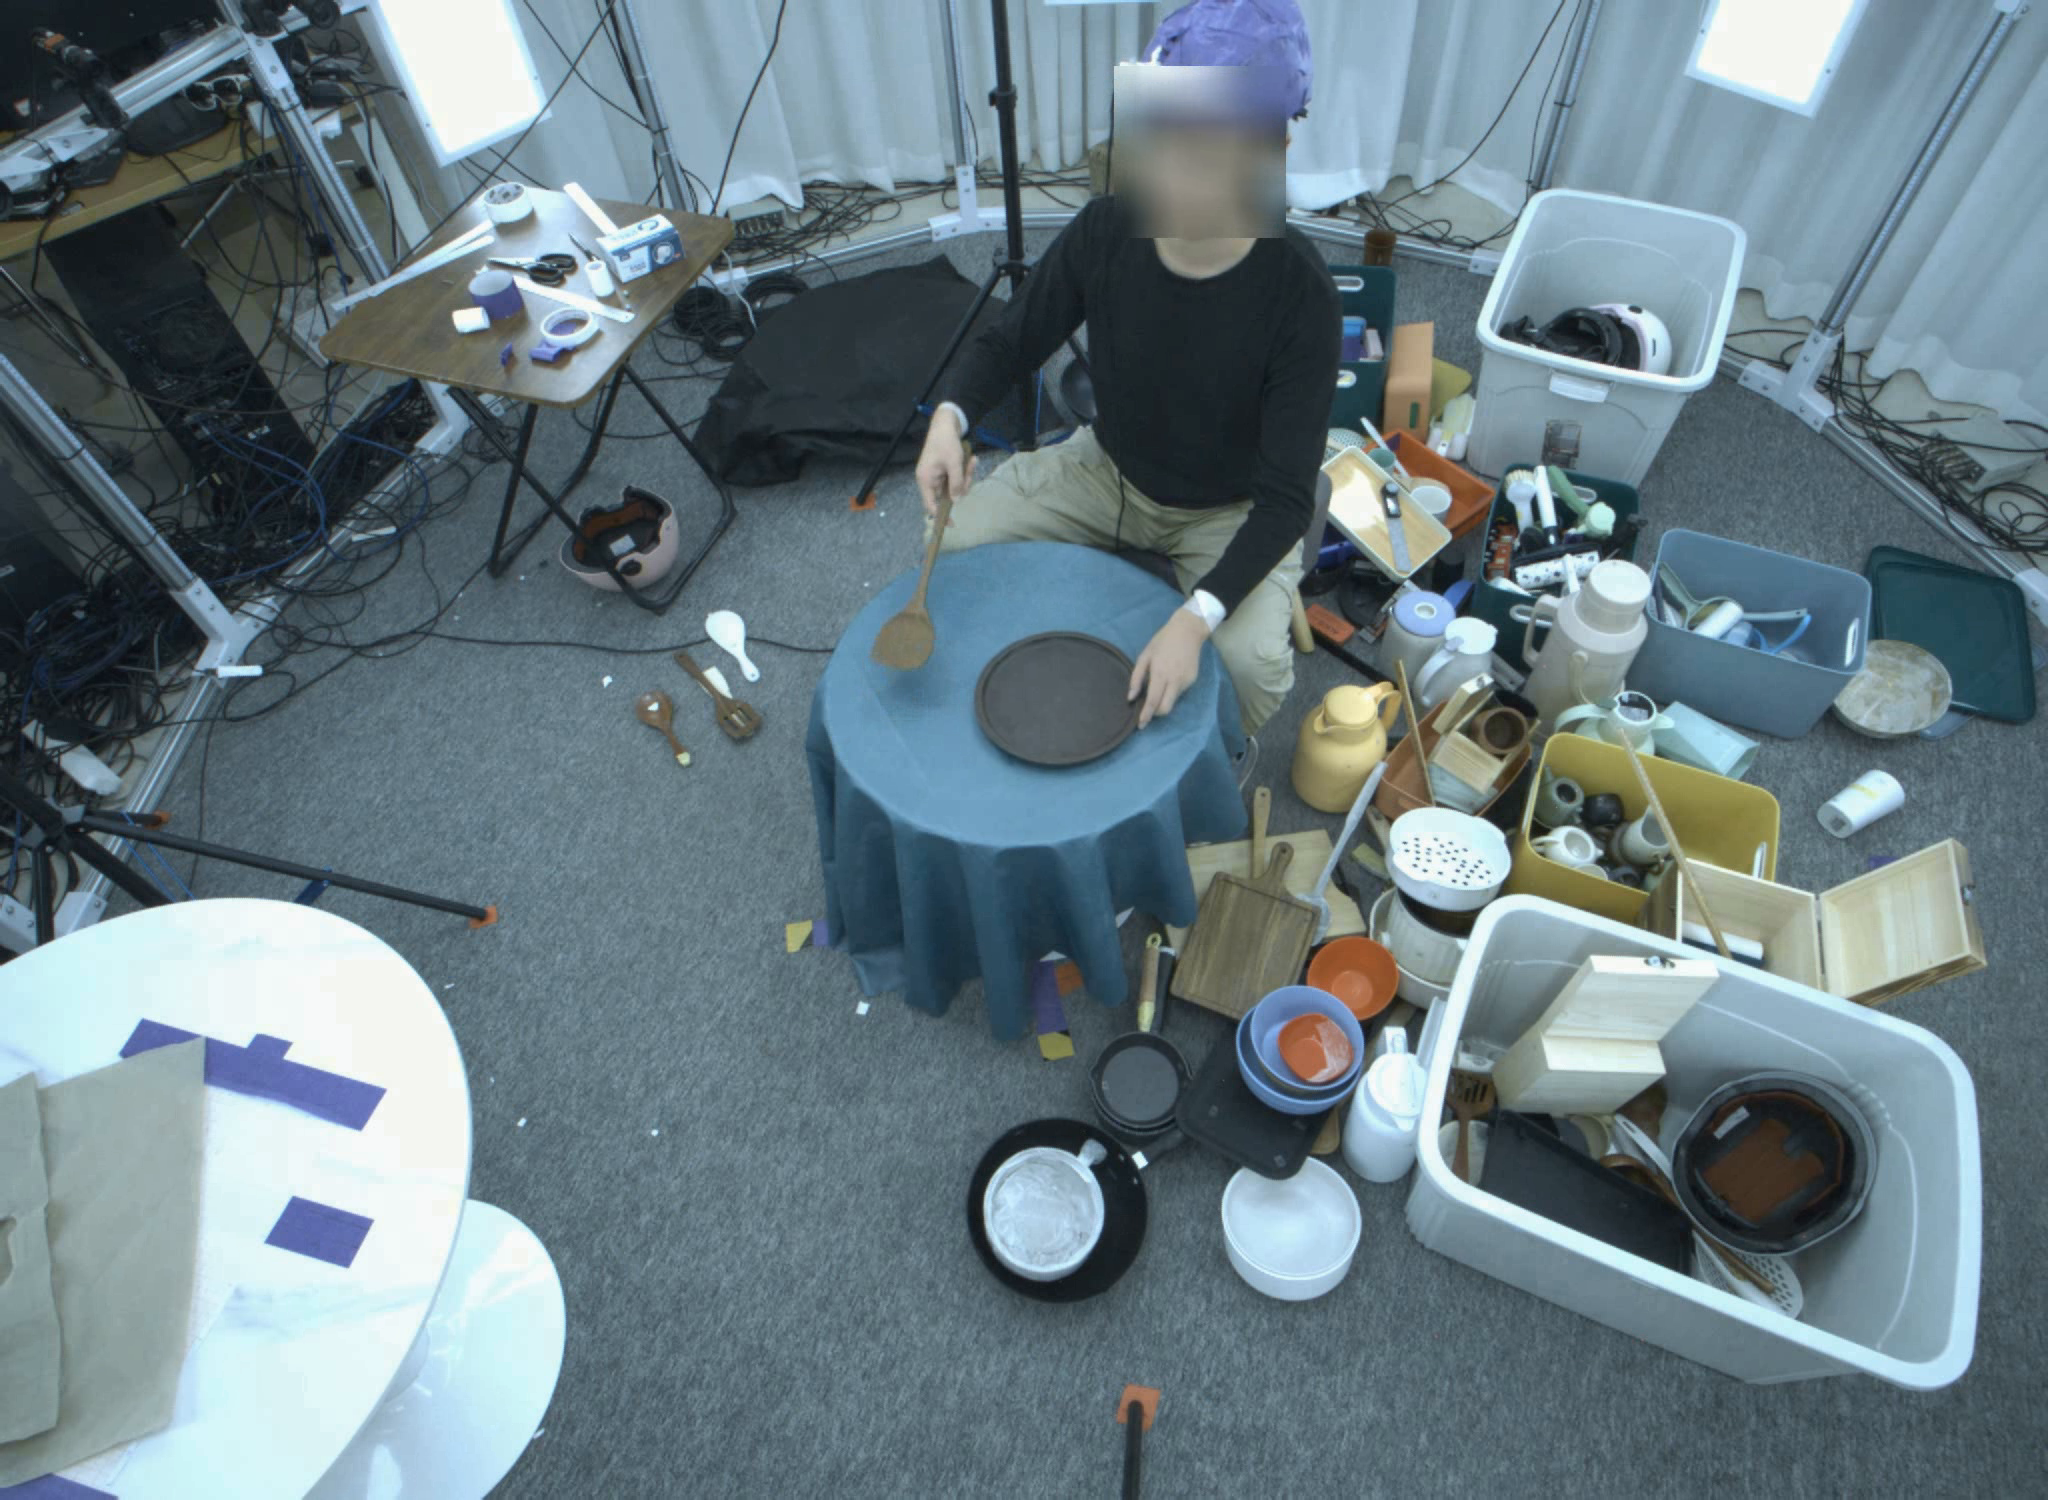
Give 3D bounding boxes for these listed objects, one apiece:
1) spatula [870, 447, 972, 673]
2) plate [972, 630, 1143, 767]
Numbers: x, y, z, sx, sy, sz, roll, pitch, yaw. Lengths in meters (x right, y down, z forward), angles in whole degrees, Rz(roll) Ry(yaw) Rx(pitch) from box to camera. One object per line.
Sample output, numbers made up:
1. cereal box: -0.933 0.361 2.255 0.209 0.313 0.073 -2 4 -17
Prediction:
1. spatula: -0.141 -0.294 1.845 0.095 0.016 0.385 11 76 18
2. plate: 0.050 -0.078 1.826 0.254 0.029 0.252 -1 54 3
